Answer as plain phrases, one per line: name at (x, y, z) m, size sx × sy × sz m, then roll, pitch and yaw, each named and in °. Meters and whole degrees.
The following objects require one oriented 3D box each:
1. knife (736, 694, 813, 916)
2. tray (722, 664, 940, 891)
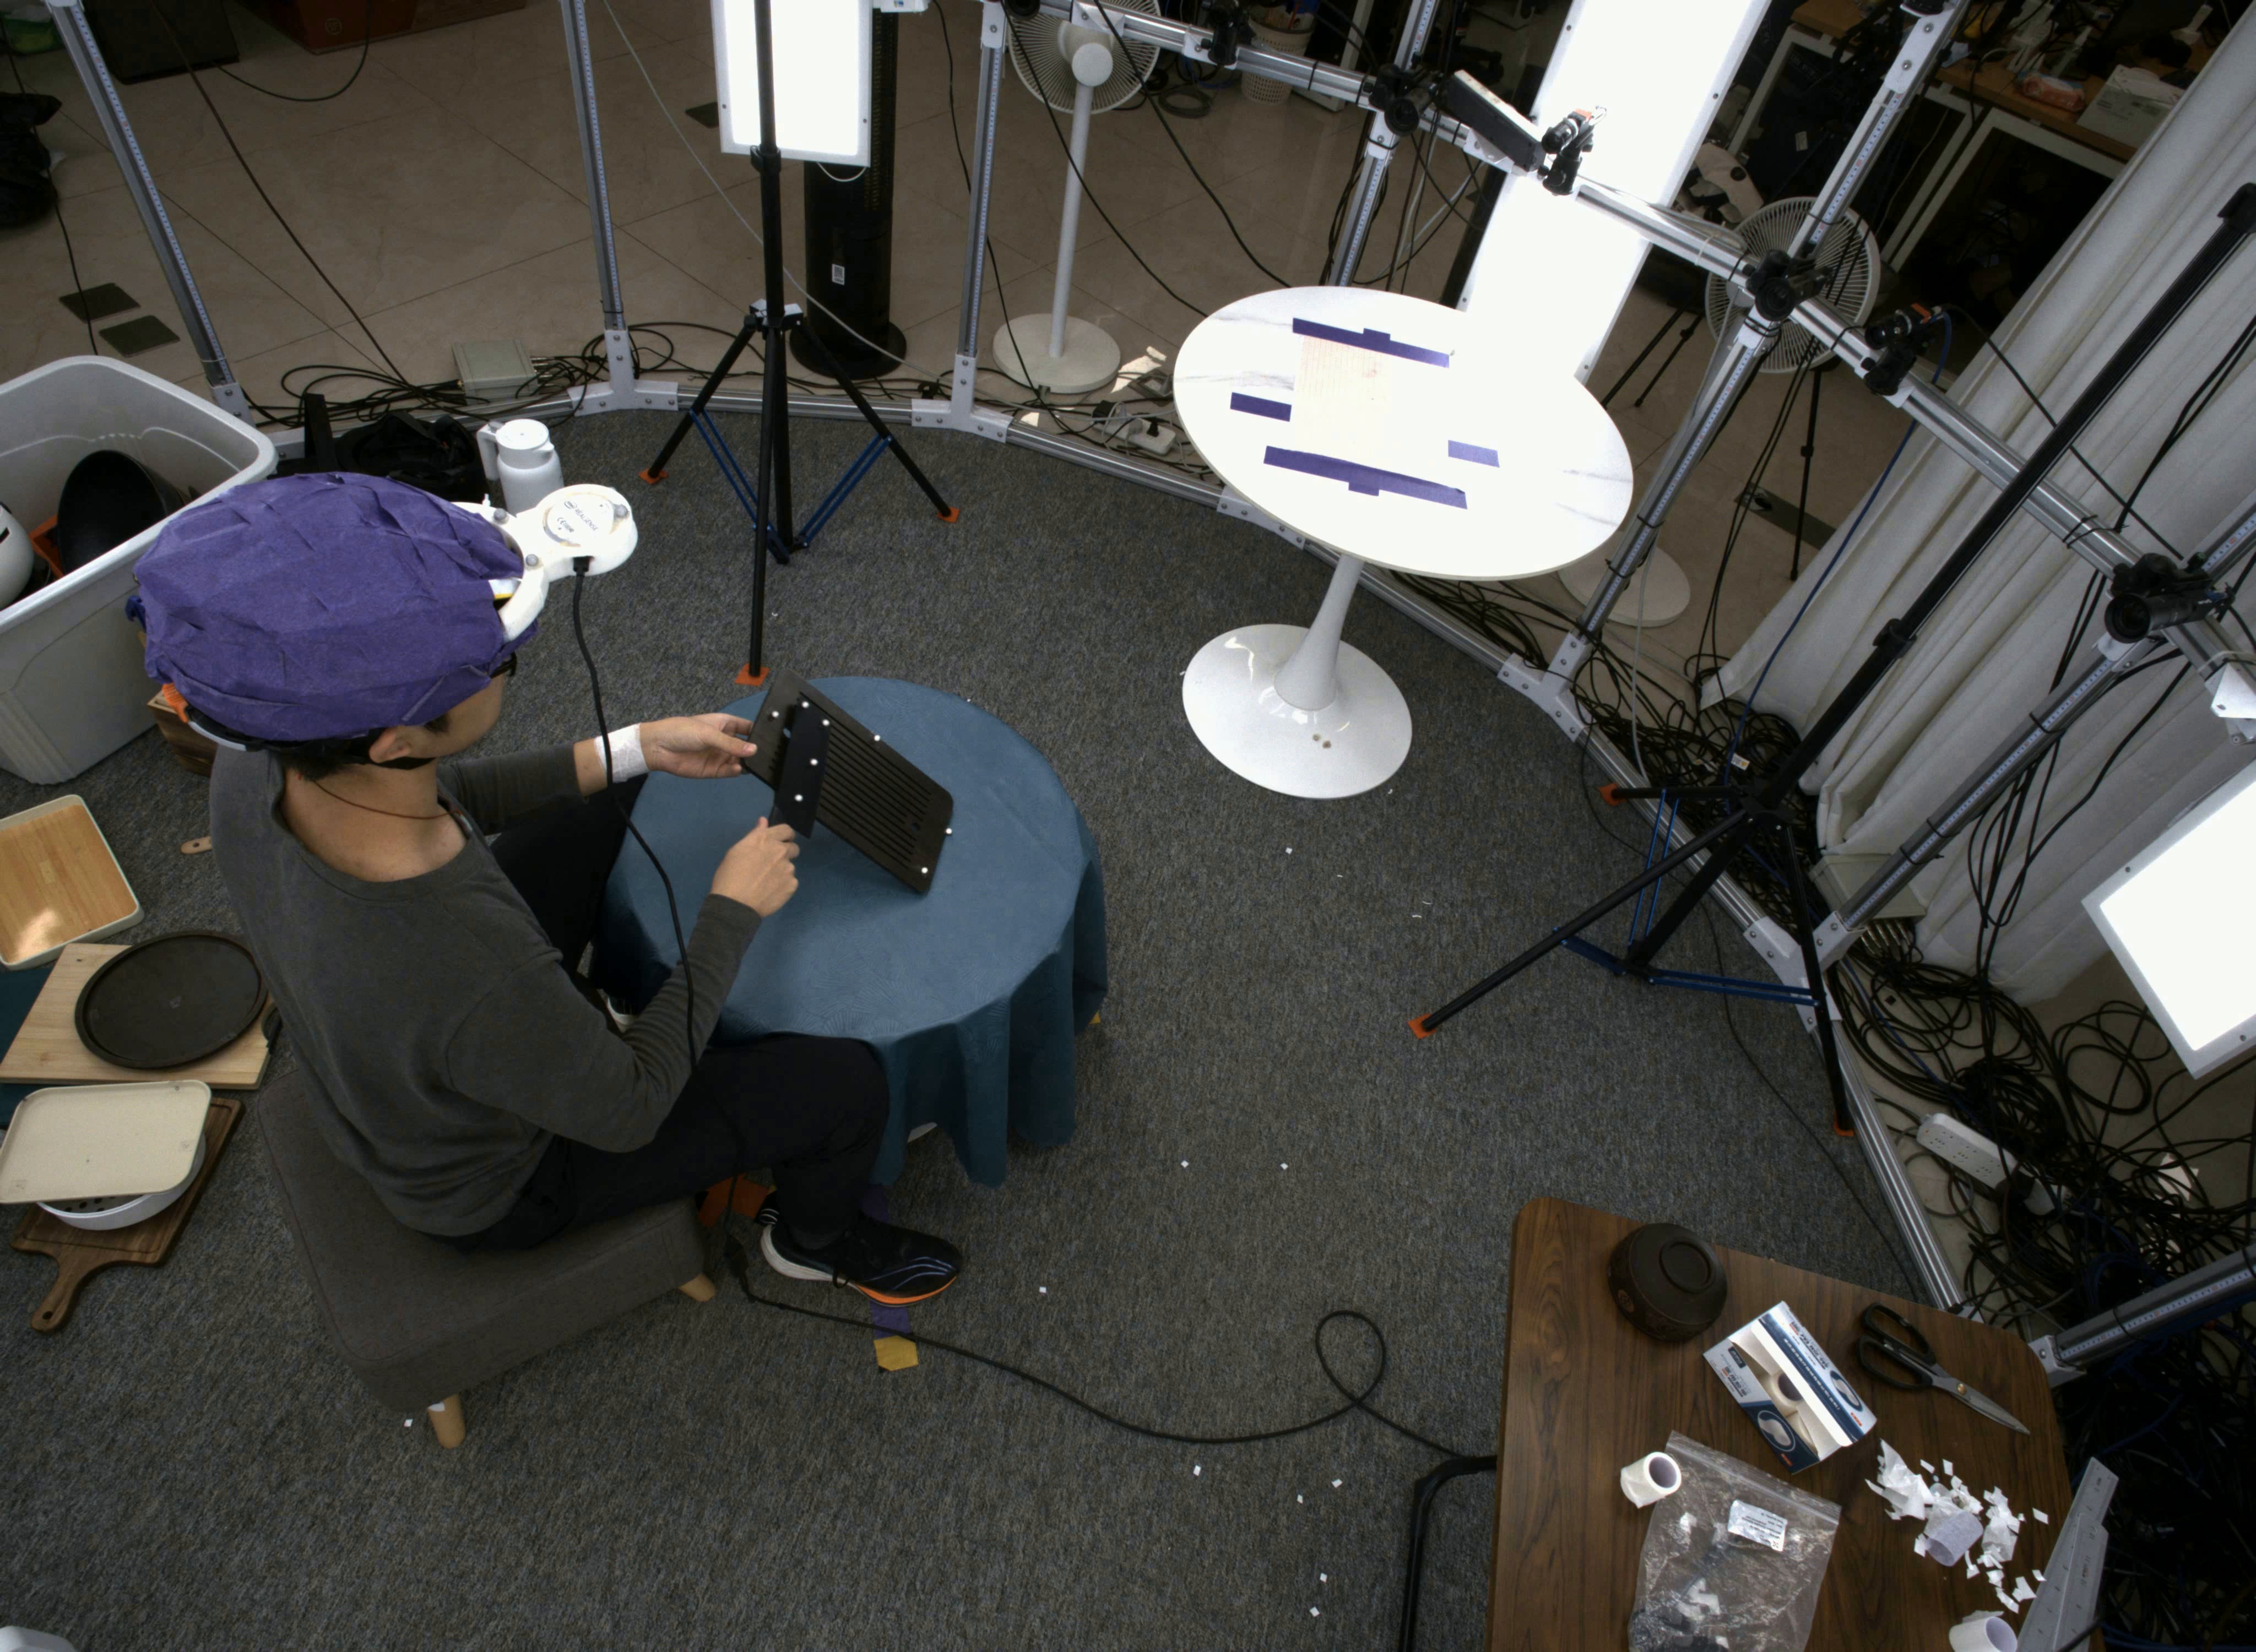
knife at (-0.422, -0.027, 1.554) m, size 0.020 × 0.084 × 0.297 m, roll -16°, pitch 50°, yaw 27°
tray at (-0.374, -0.058, 1.665) m, size 0.316 × 0.018 × 0.167 m, roll 40°, pitch 44°, yaw -34°
